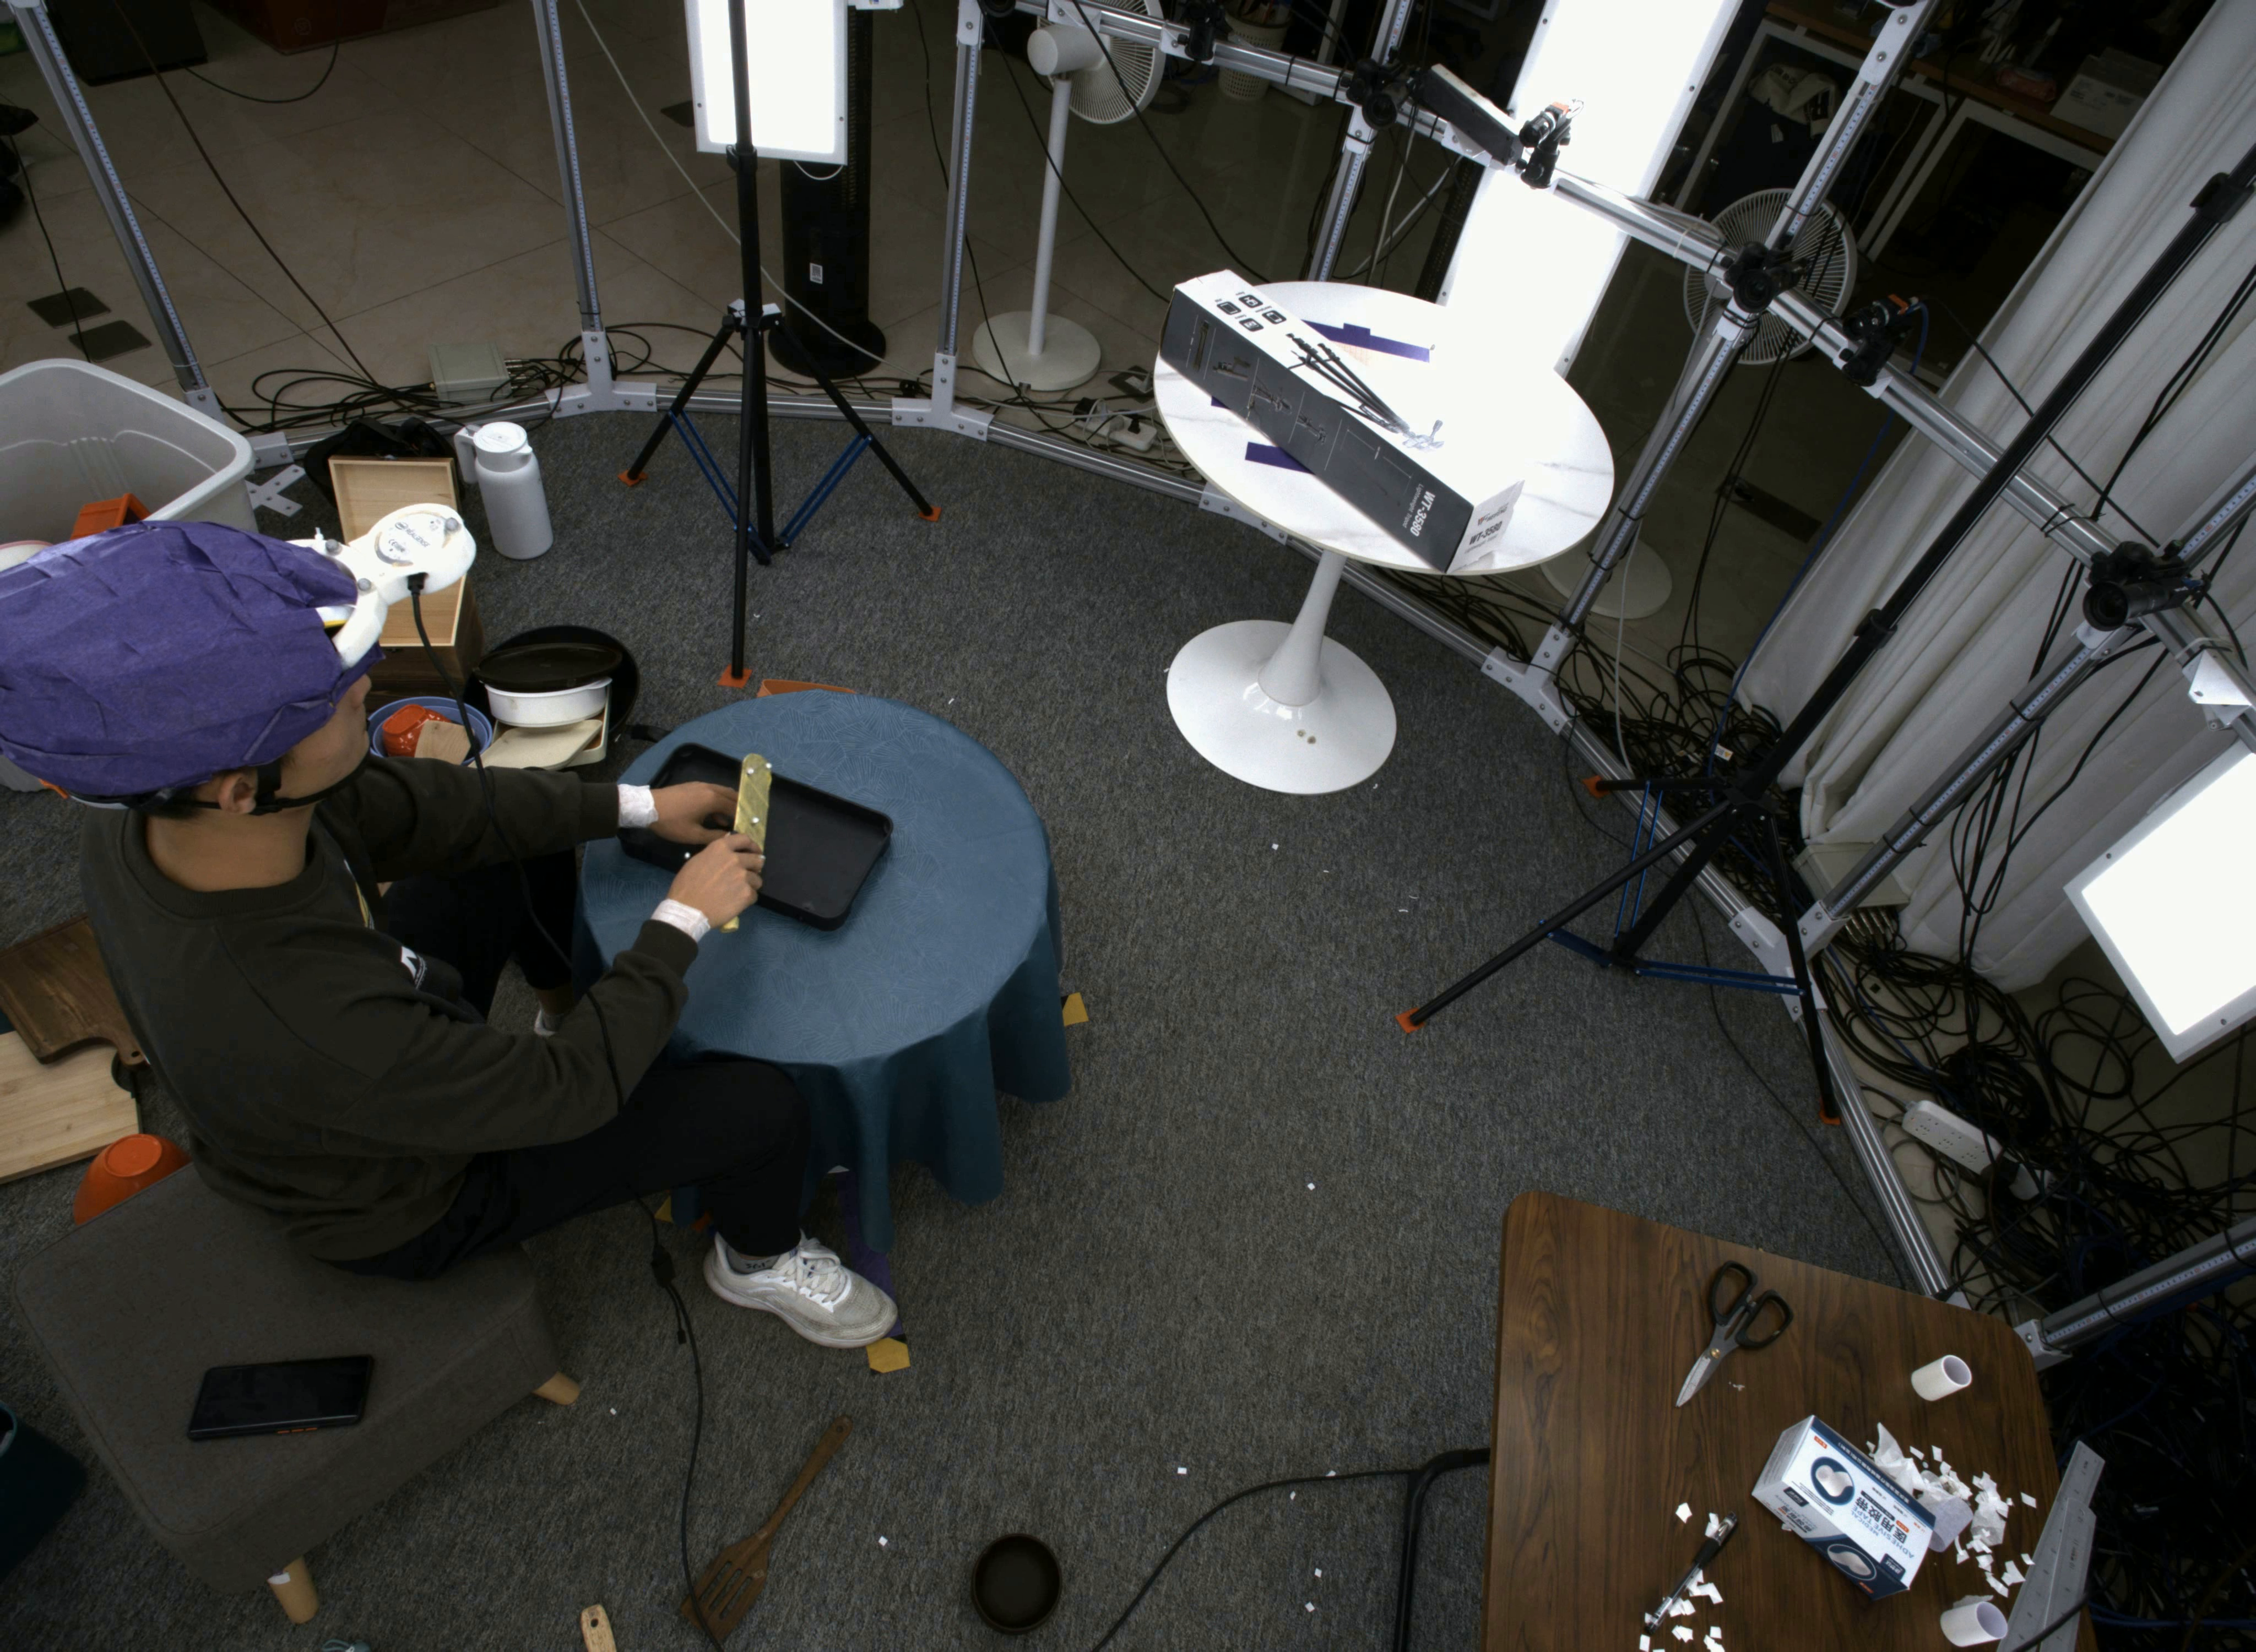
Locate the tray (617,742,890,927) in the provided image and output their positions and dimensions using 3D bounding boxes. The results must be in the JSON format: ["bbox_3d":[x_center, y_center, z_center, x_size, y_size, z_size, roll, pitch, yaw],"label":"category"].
[{"bbox_3d":[-0.487,0.008,1.689,0.315,0.038,0.182,19,52,0],"label":"tray"}]

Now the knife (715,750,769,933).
[{"bbox_3d":[-0.469,0.016,1.586,0.027,0.084,0.283,-12,50,11],"label":"knife"}]
